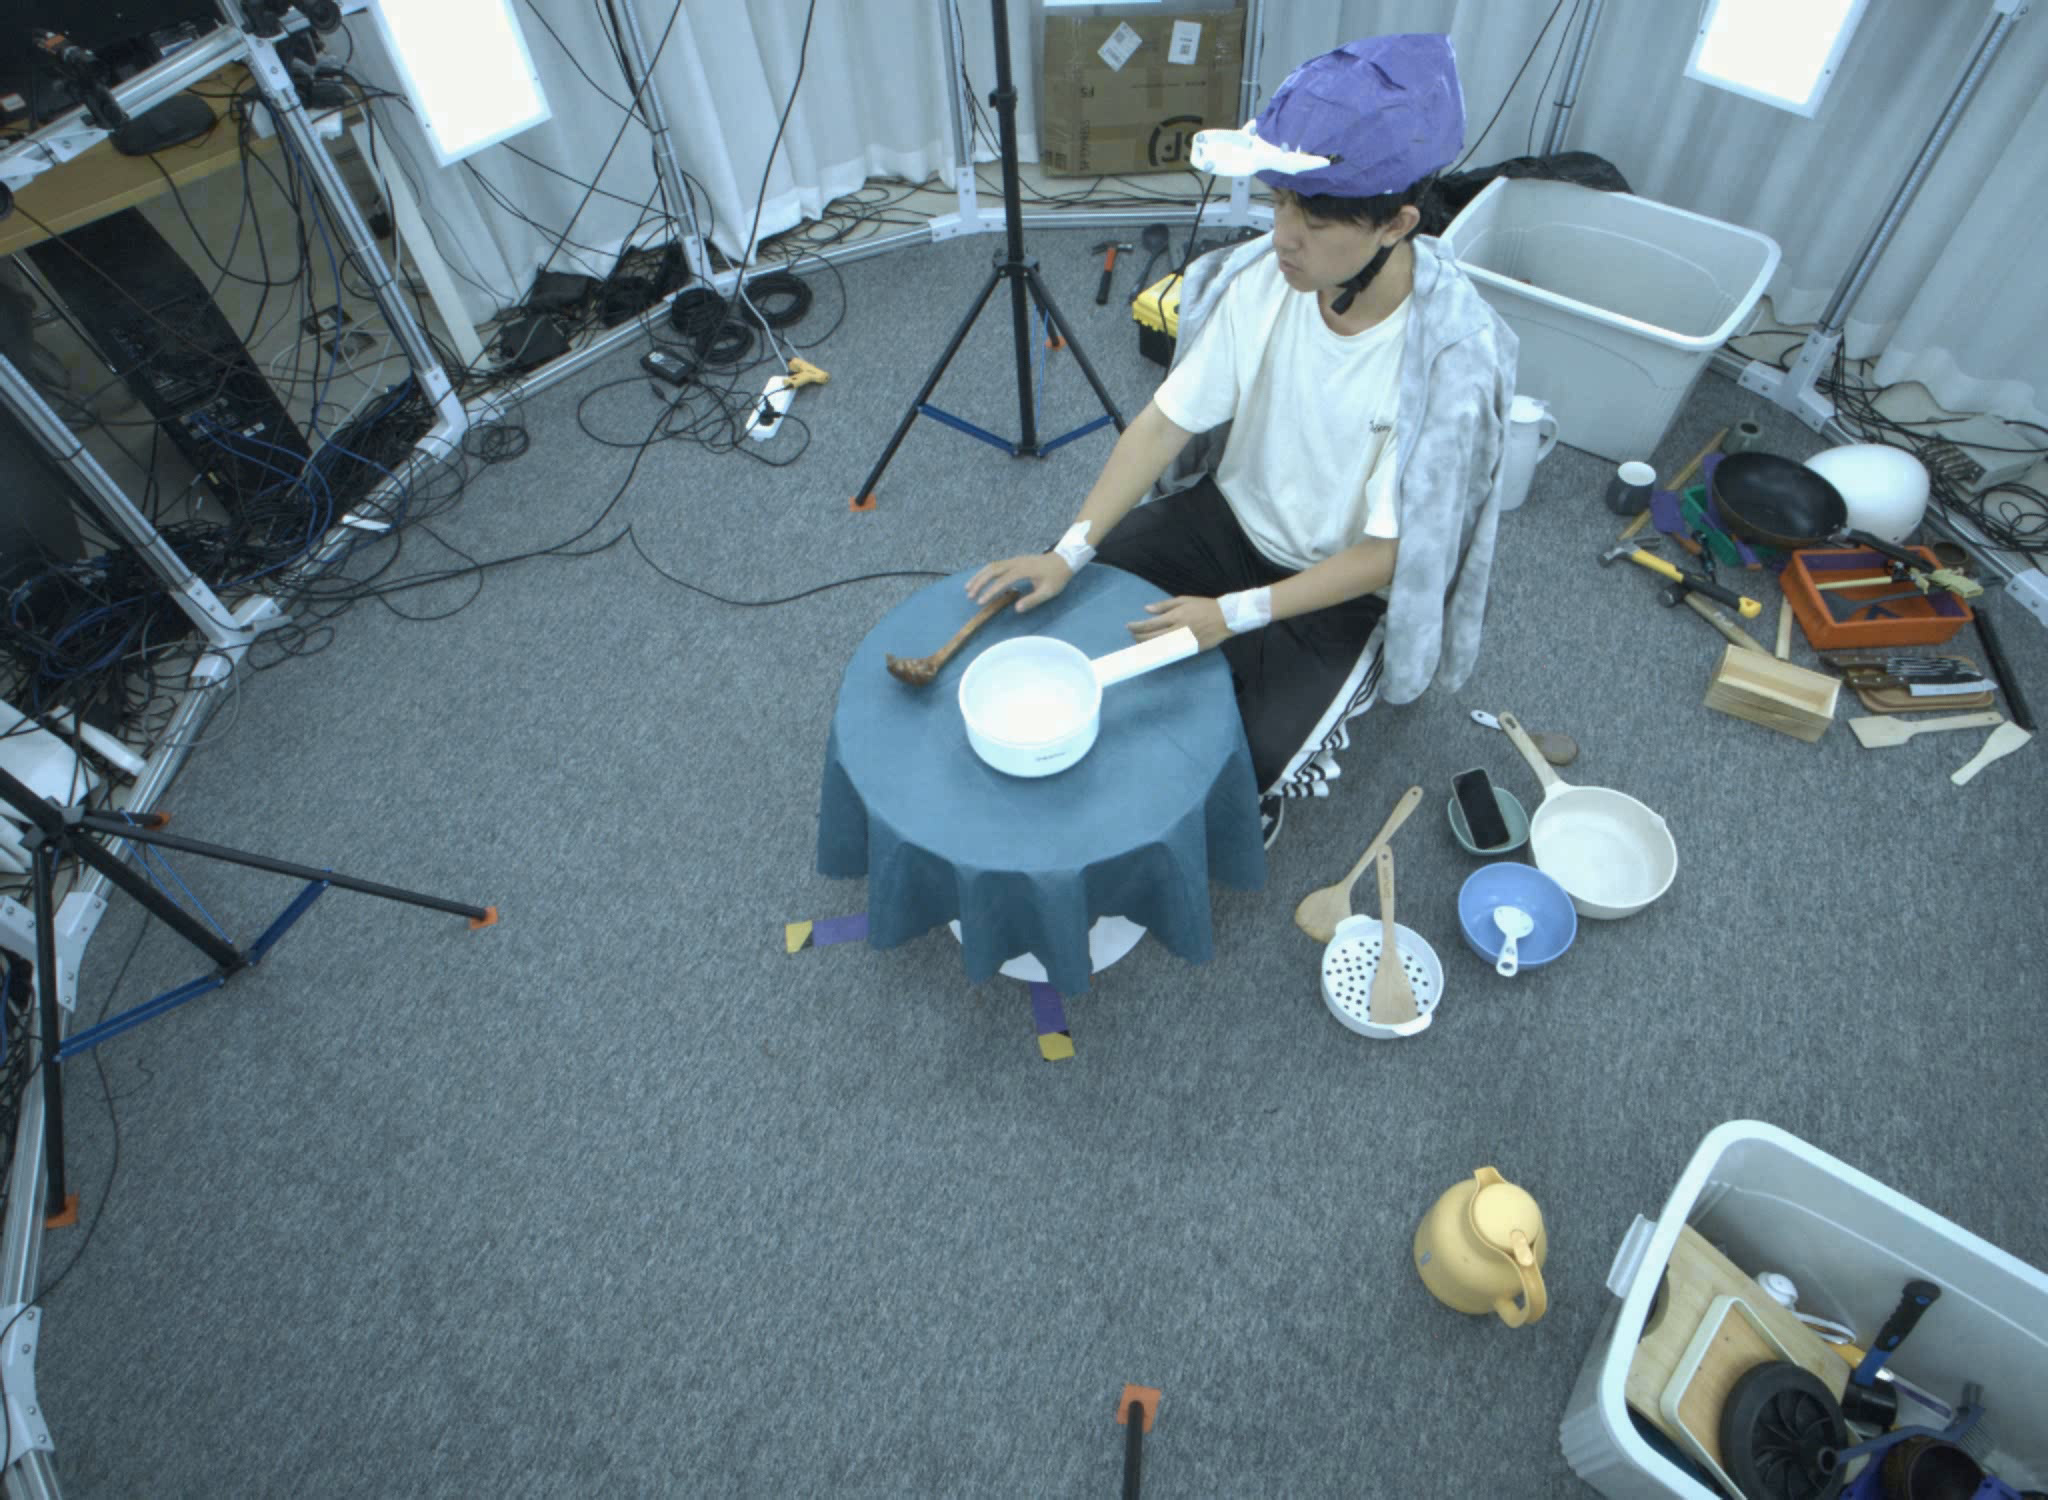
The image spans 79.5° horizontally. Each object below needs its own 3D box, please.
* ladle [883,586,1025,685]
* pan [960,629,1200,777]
[{"bbox_3d":[-0.104,-0.191,1.879,0.080,0.077,0.275,33,63,27],"label":"ladle"},{"bbox_3d":[0.084,-0.082,1.784,0.357,0.103,0.197,-19,56,-12],"label":"pan"}]
